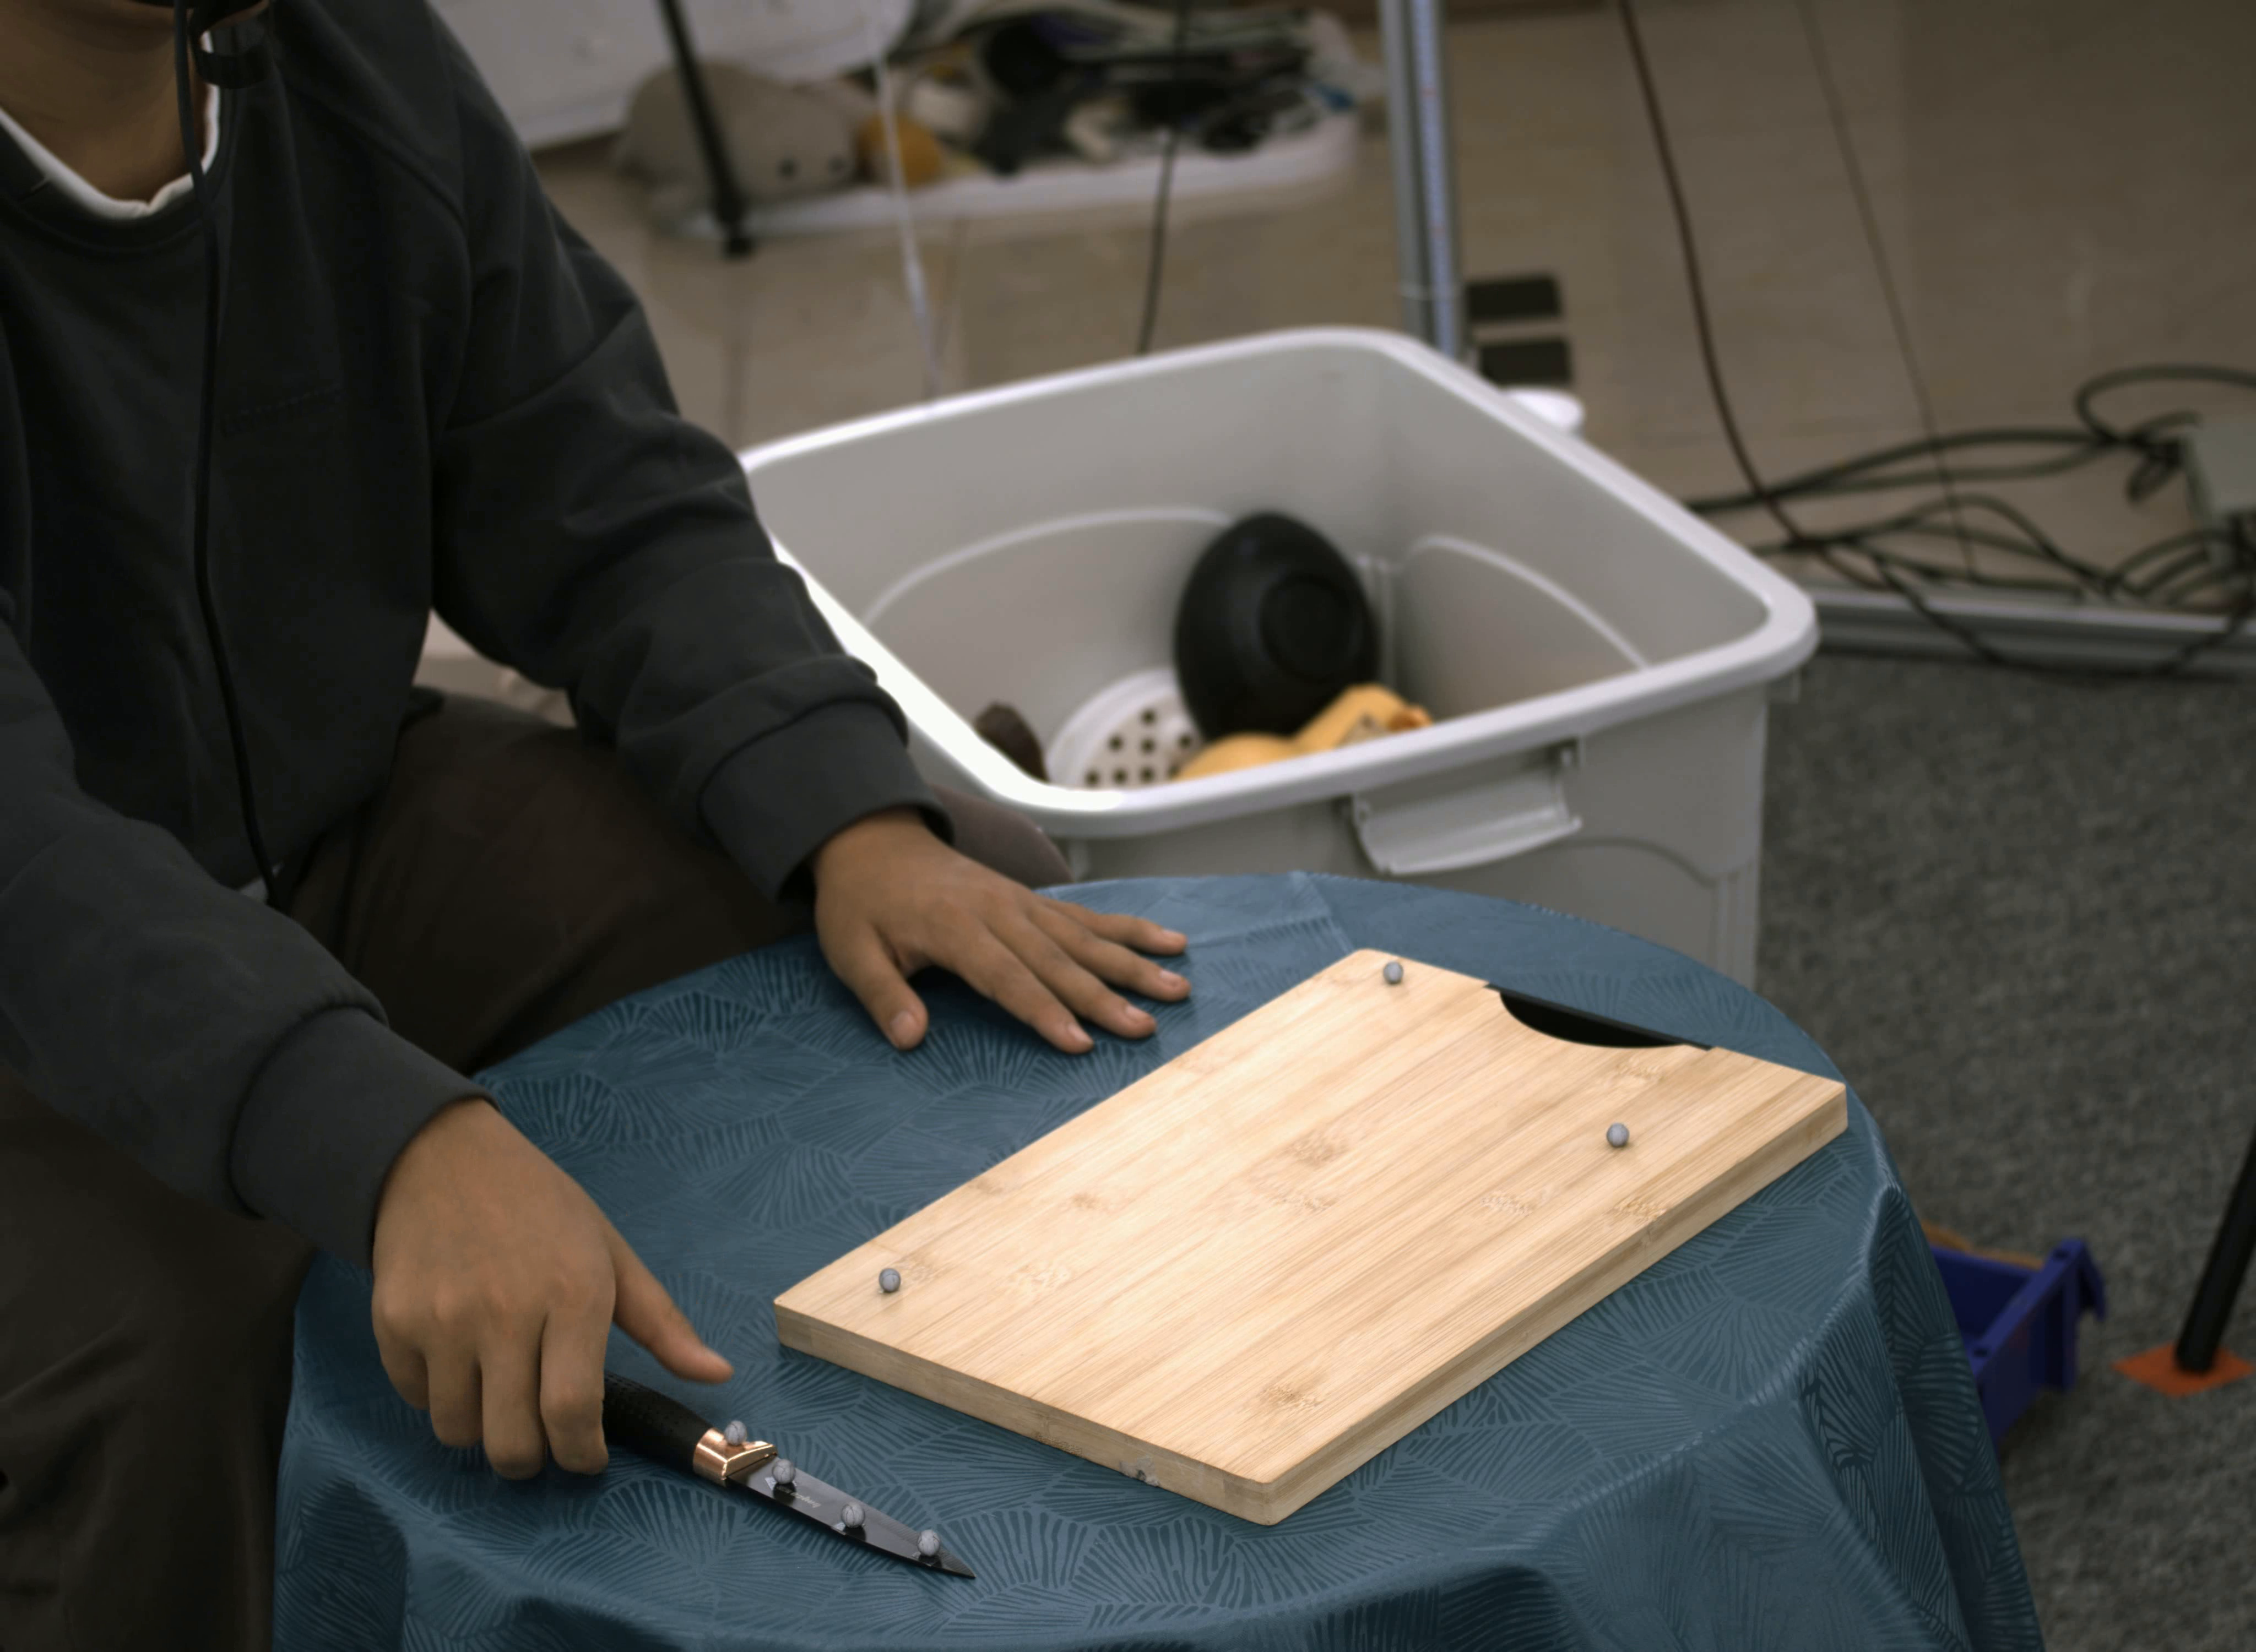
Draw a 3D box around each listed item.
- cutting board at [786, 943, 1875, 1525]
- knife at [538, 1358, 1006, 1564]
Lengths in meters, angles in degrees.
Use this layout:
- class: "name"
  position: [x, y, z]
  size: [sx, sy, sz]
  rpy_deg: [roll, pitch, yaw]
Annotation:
- class: "cutting board"
  position: [0.076, 0.142, 2.104]
  size: [0.249, 0.024, 0.345]
  rpy_deg: [16, 33, 39]
- class: "knife"
  position: [-0.127, 0.223, 1.984]
  size: [0.224, 0.017, 0.026]
  rpy_deg: [18, 28, 40]
